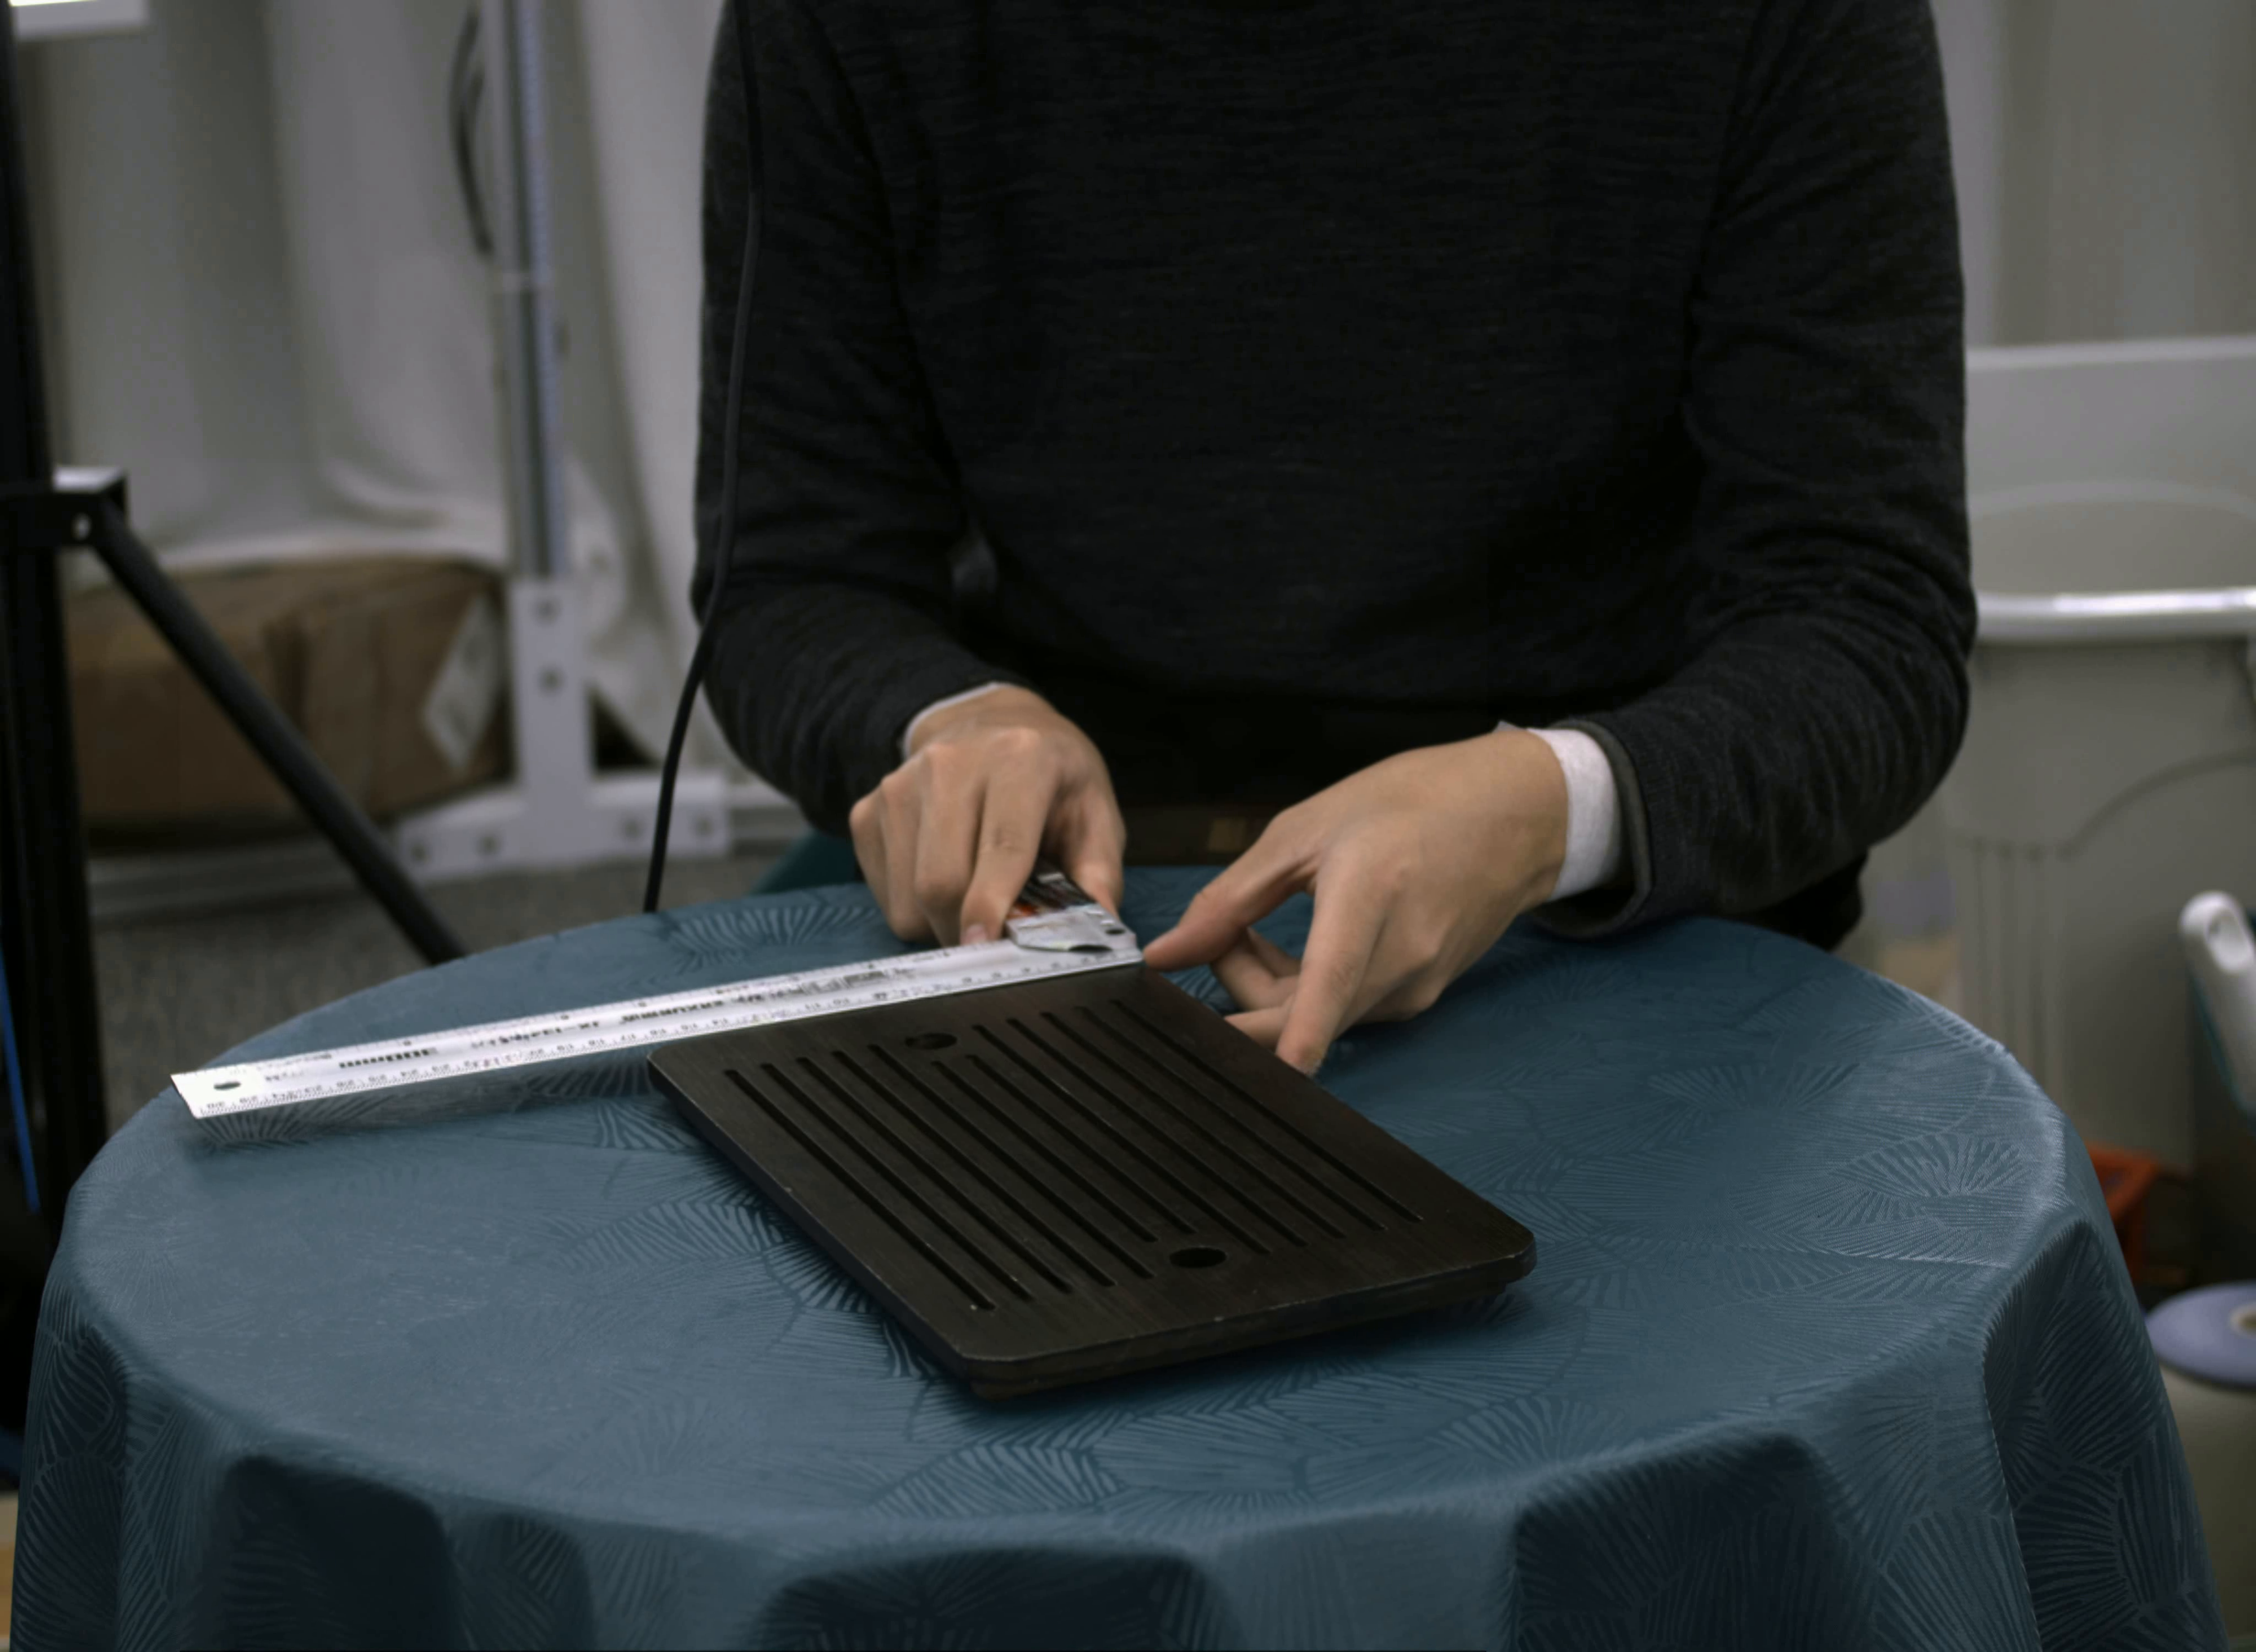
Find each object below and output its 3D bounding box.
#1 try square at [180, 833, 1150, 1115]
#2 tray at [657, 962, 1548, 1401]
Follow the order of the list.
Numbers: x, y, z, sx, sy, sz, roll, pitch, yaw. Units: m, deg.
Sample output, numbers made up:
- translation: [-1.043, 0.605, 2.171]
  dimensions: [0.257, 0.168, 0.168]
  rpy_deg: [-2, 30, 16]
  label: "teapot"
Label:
- translation: [-0.160, 0.048, 1.736]
  dimensions: [0.308, 0.016, 0.155]
  rpy_deg: [-9, 16, -16]
  label: "try square"
- translation: [-0.015, 0.099, 1.551]
  dimensions: [0.167, 0.018, 0.311]
  rpy_deg: [-10, 17, -19]
  label: "tray"
